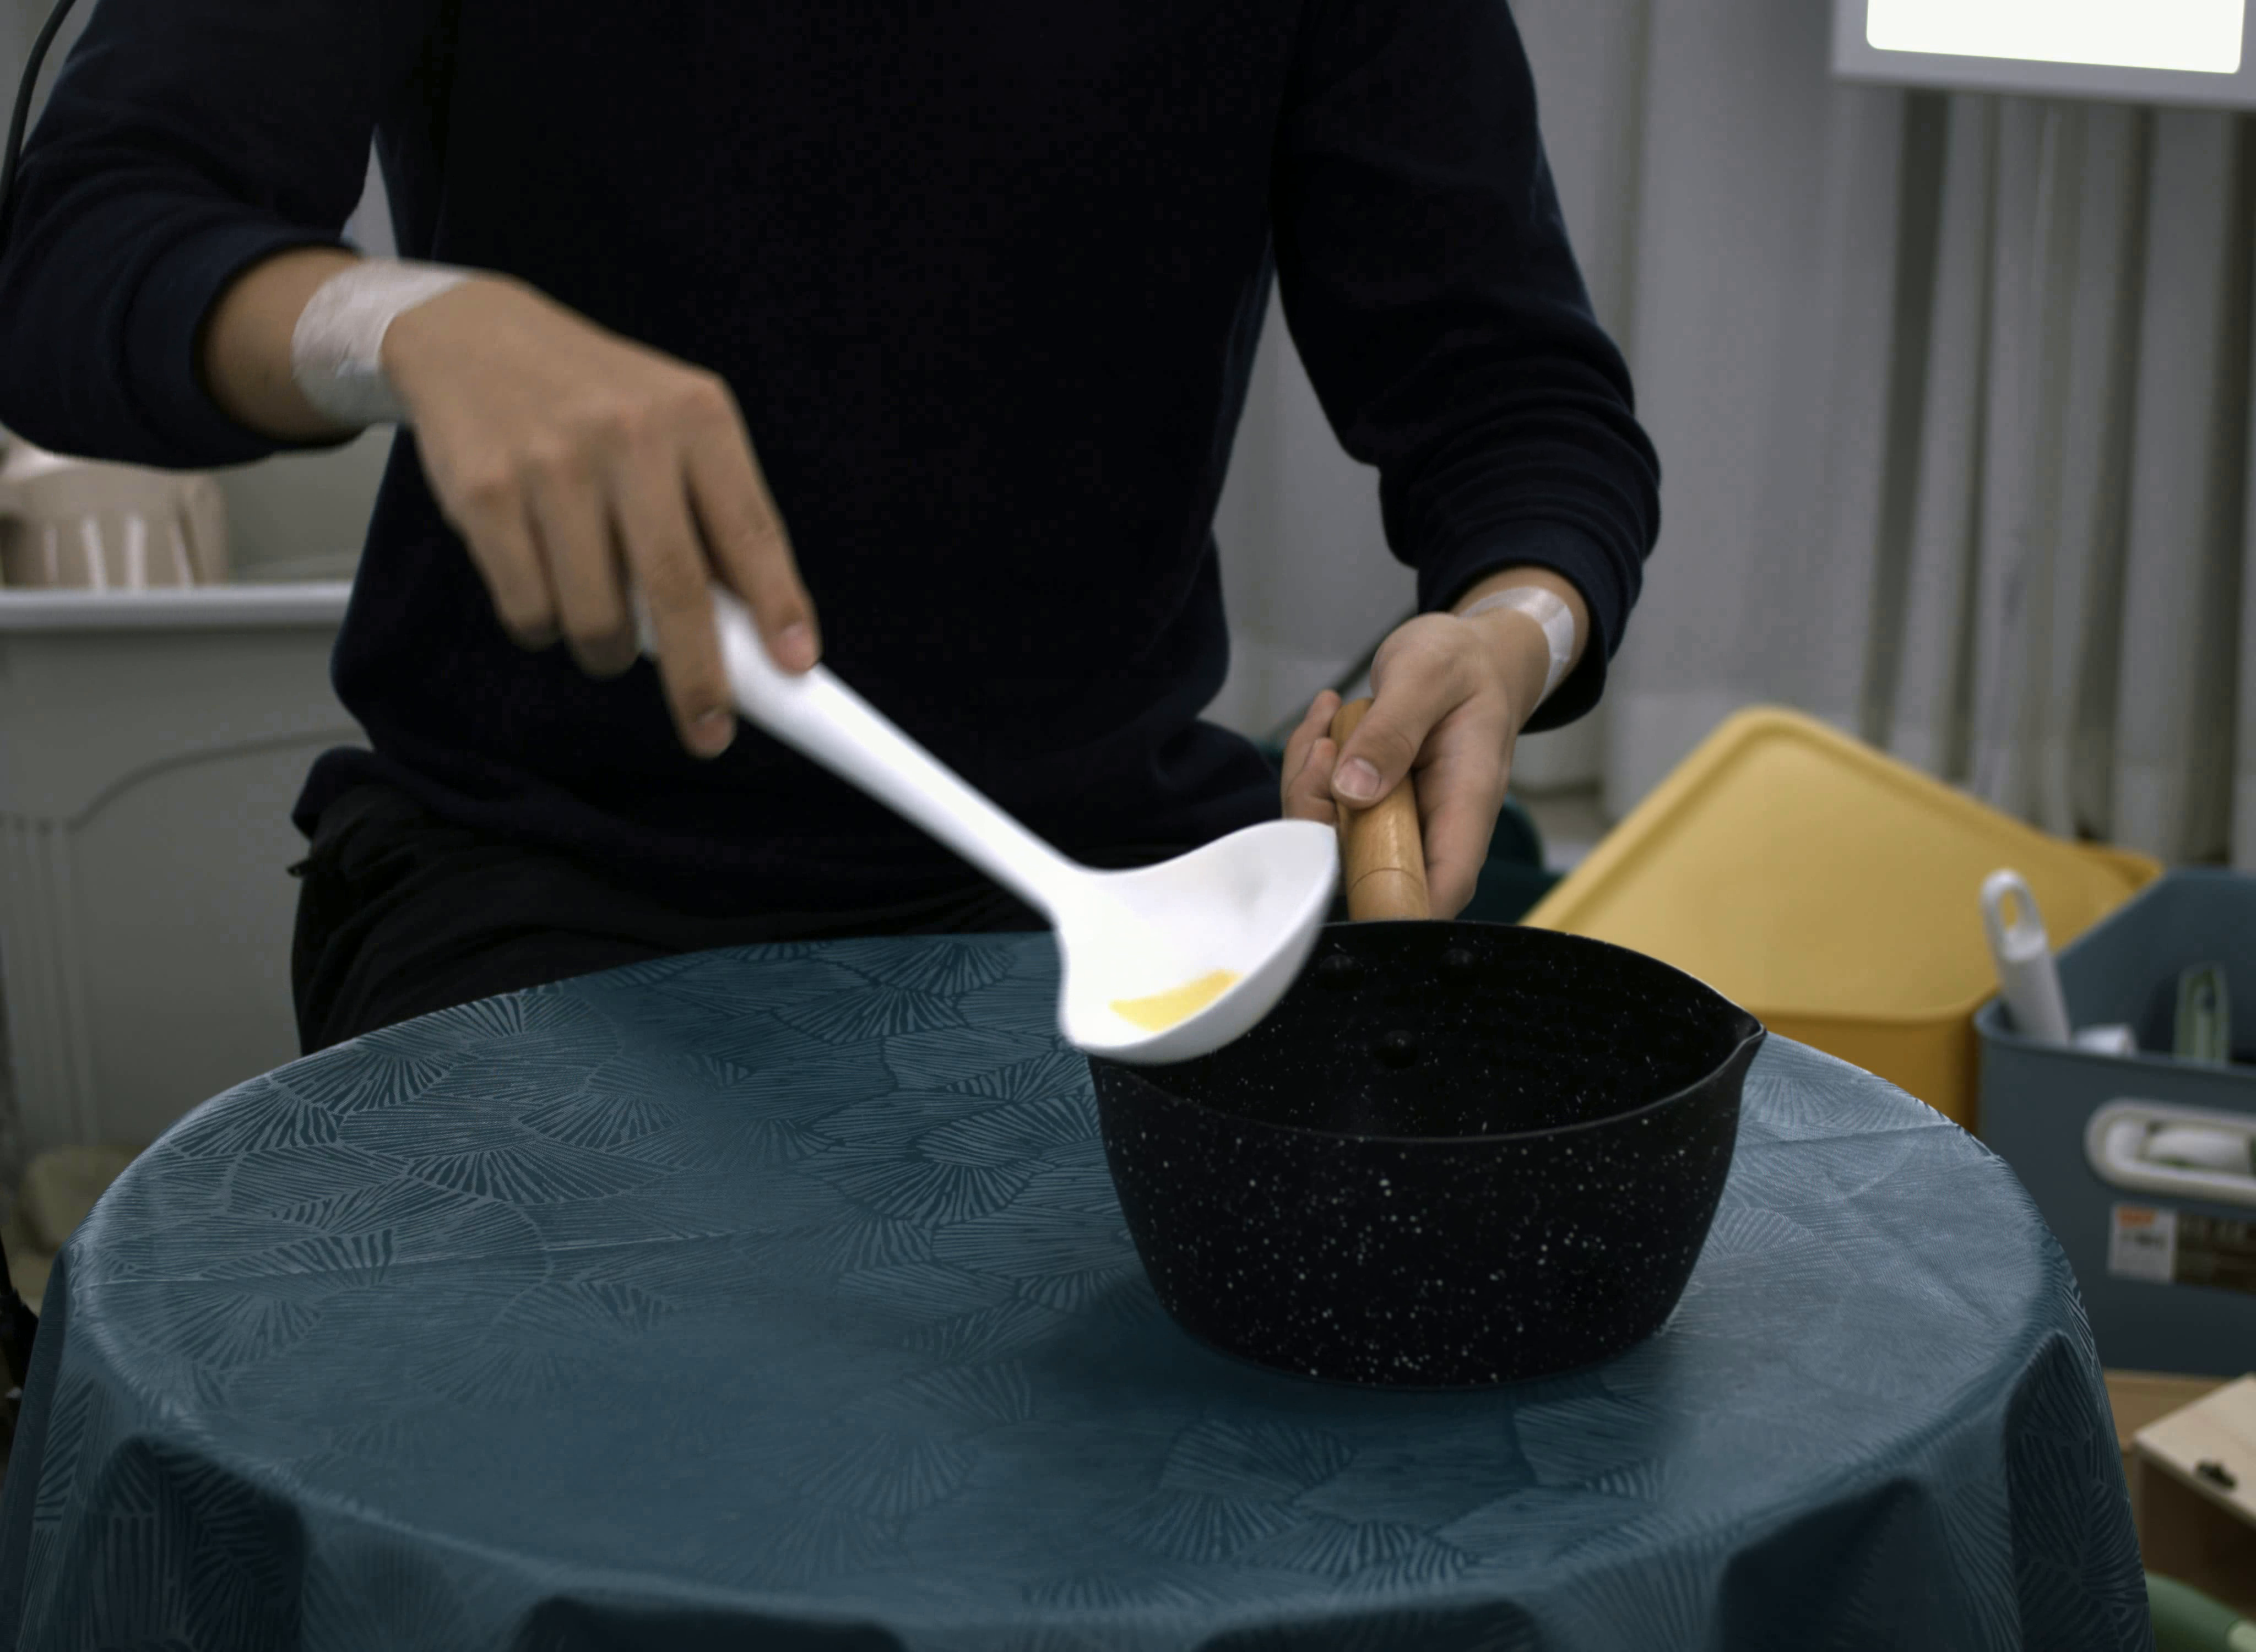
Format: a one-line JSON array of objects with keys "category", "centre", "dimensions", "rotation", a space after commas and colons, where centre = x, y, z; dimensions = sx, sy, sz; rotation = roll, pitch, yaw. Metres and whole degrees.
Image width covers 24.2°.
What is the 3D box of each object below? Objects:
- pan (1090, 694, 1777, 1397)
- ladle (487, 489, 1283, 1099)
[{"category": "pan", "centre": [0.080, 0.061, 1.589], "dimensions": [0.207, 0.109, 0.340], "rotation": [-2, 19, -2]}, {"category": "ladle", "centre": [-0.075, -0.019, 1.462], "dimensions": [0.289, 0.090, 0.071], "rotation": [36, -13, 25]}]
